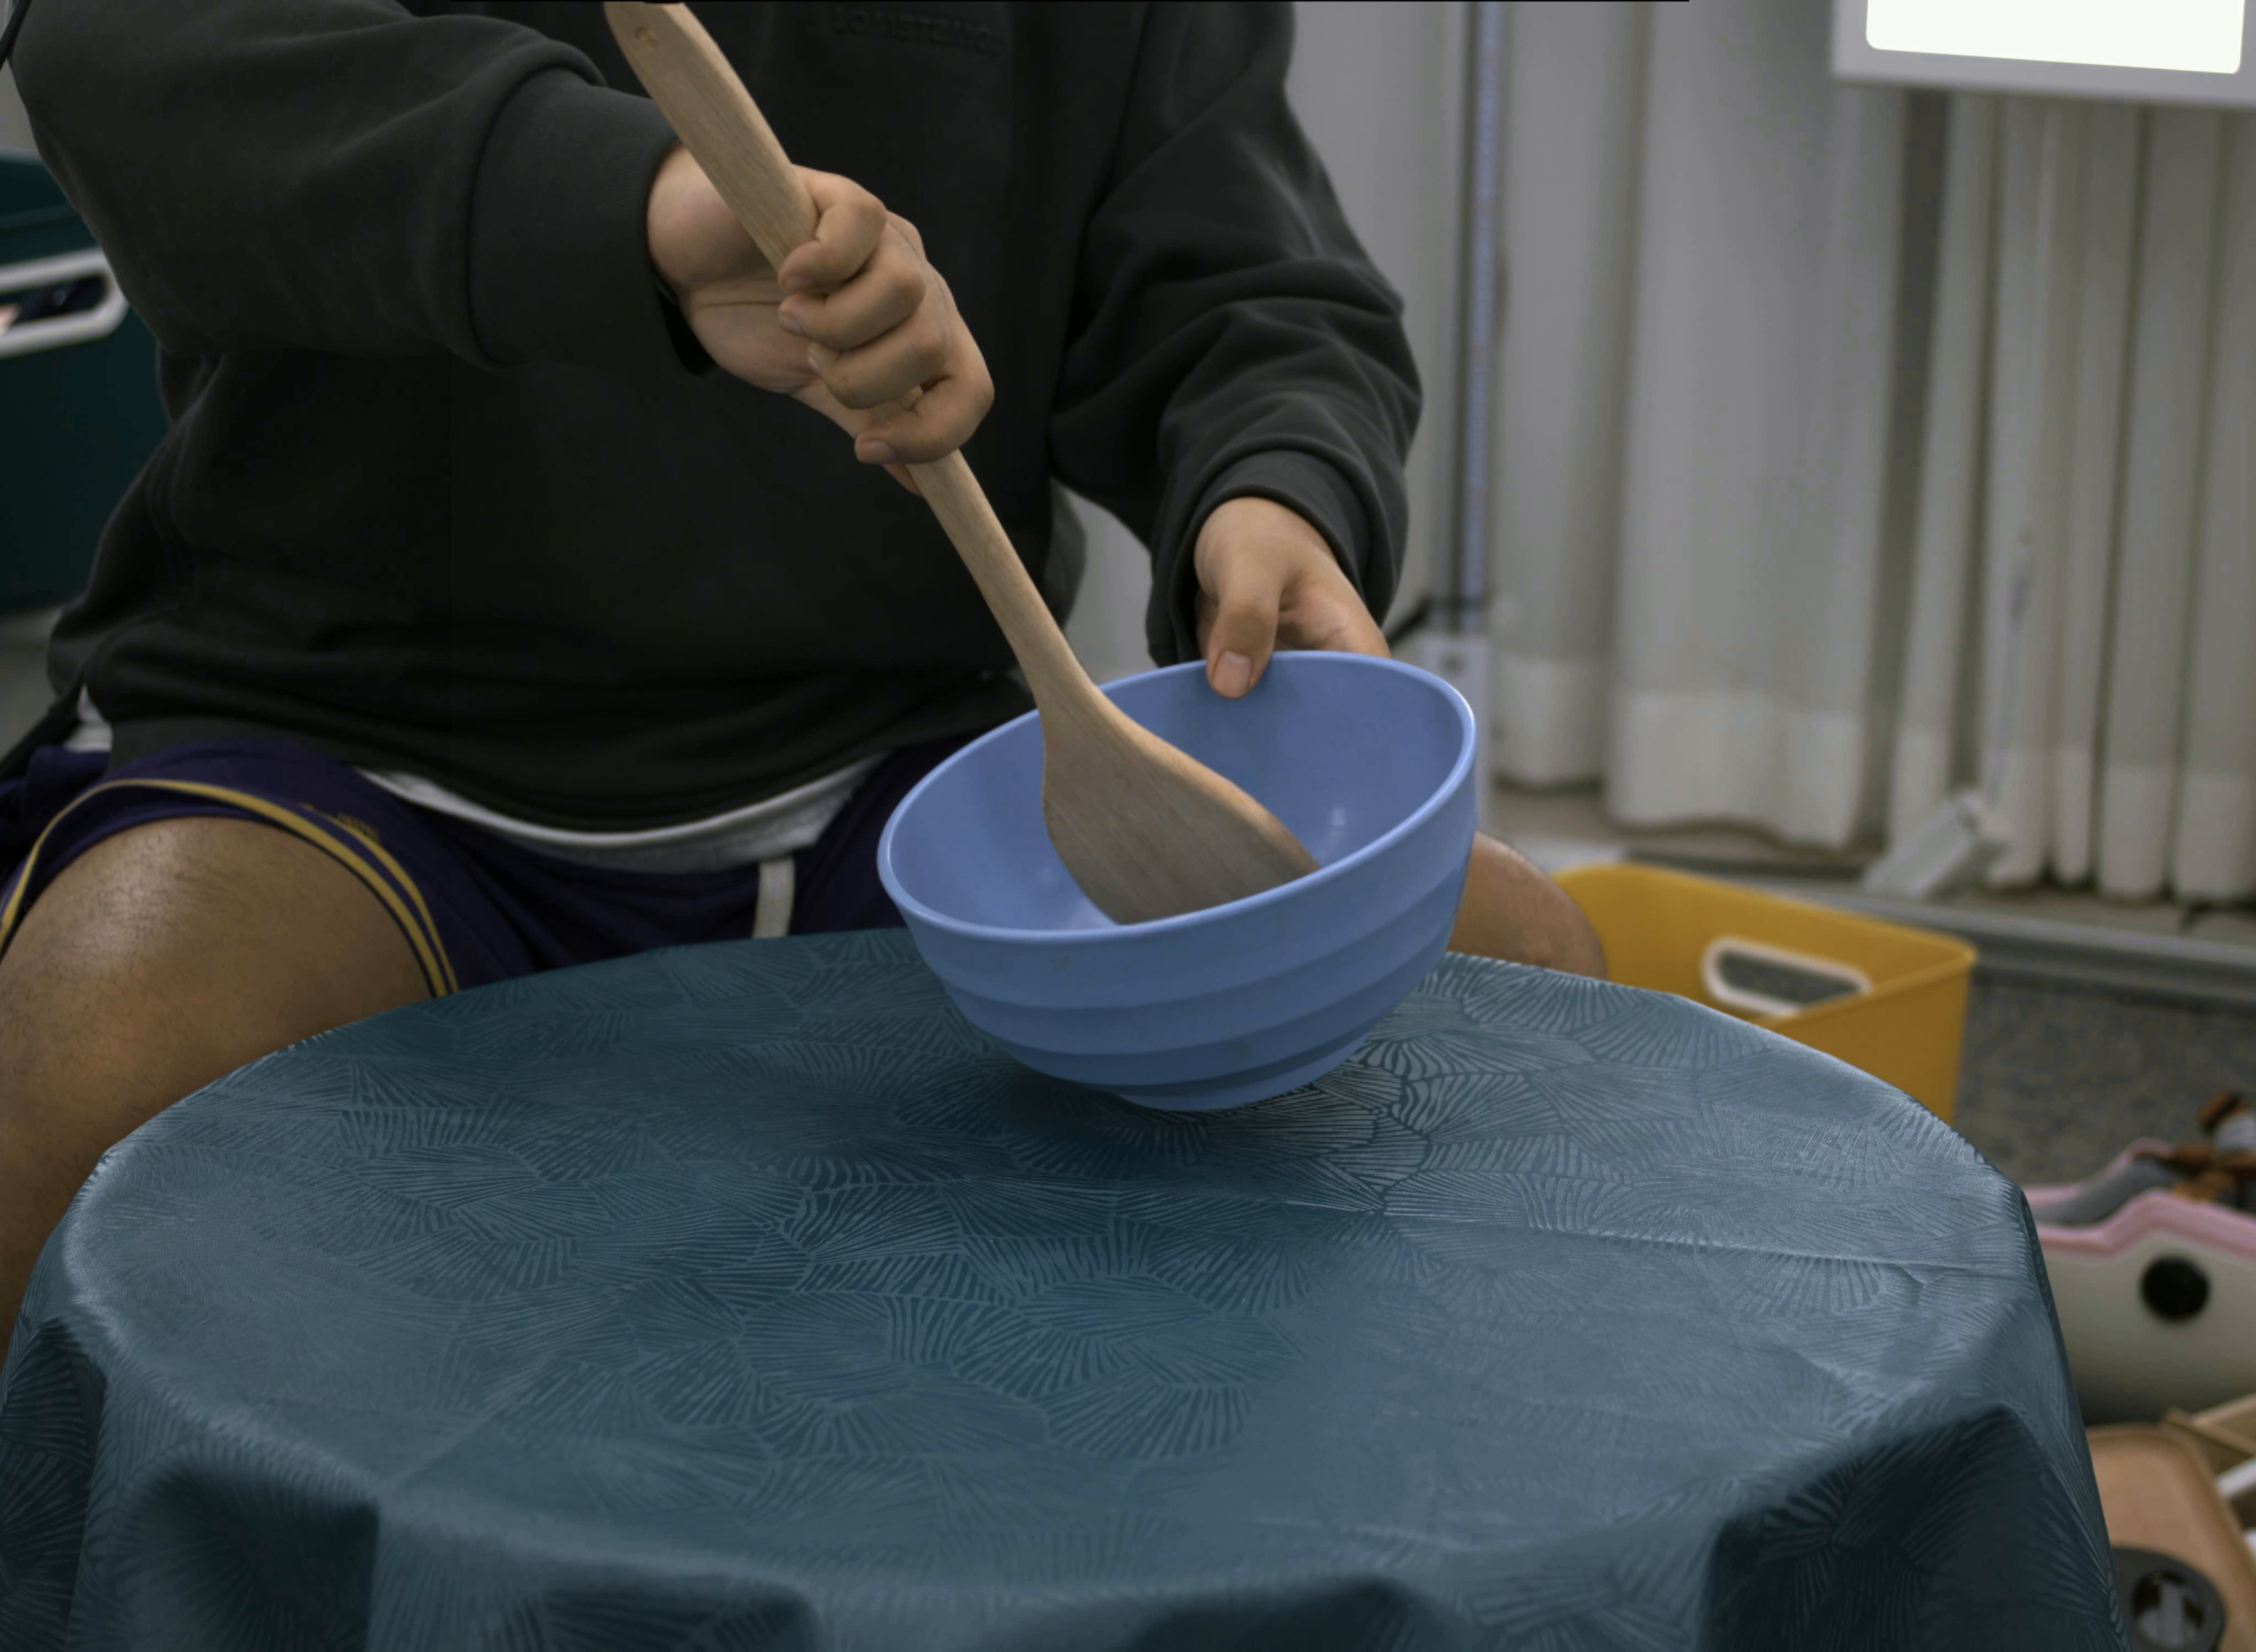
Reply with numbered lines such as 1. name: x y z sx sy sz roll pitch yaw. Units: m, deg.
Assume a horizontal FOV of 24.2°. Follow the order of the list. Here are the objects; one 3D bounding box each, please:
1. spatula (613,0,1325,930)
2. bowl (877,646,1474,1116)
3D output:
1. spatula: -0.049 -0.103 1.612 0.095 0.395 0.018 -8 35 38
2. bowl: 0.025 0.029 1.694 0.195 0.096 0.195 -12 27 7
